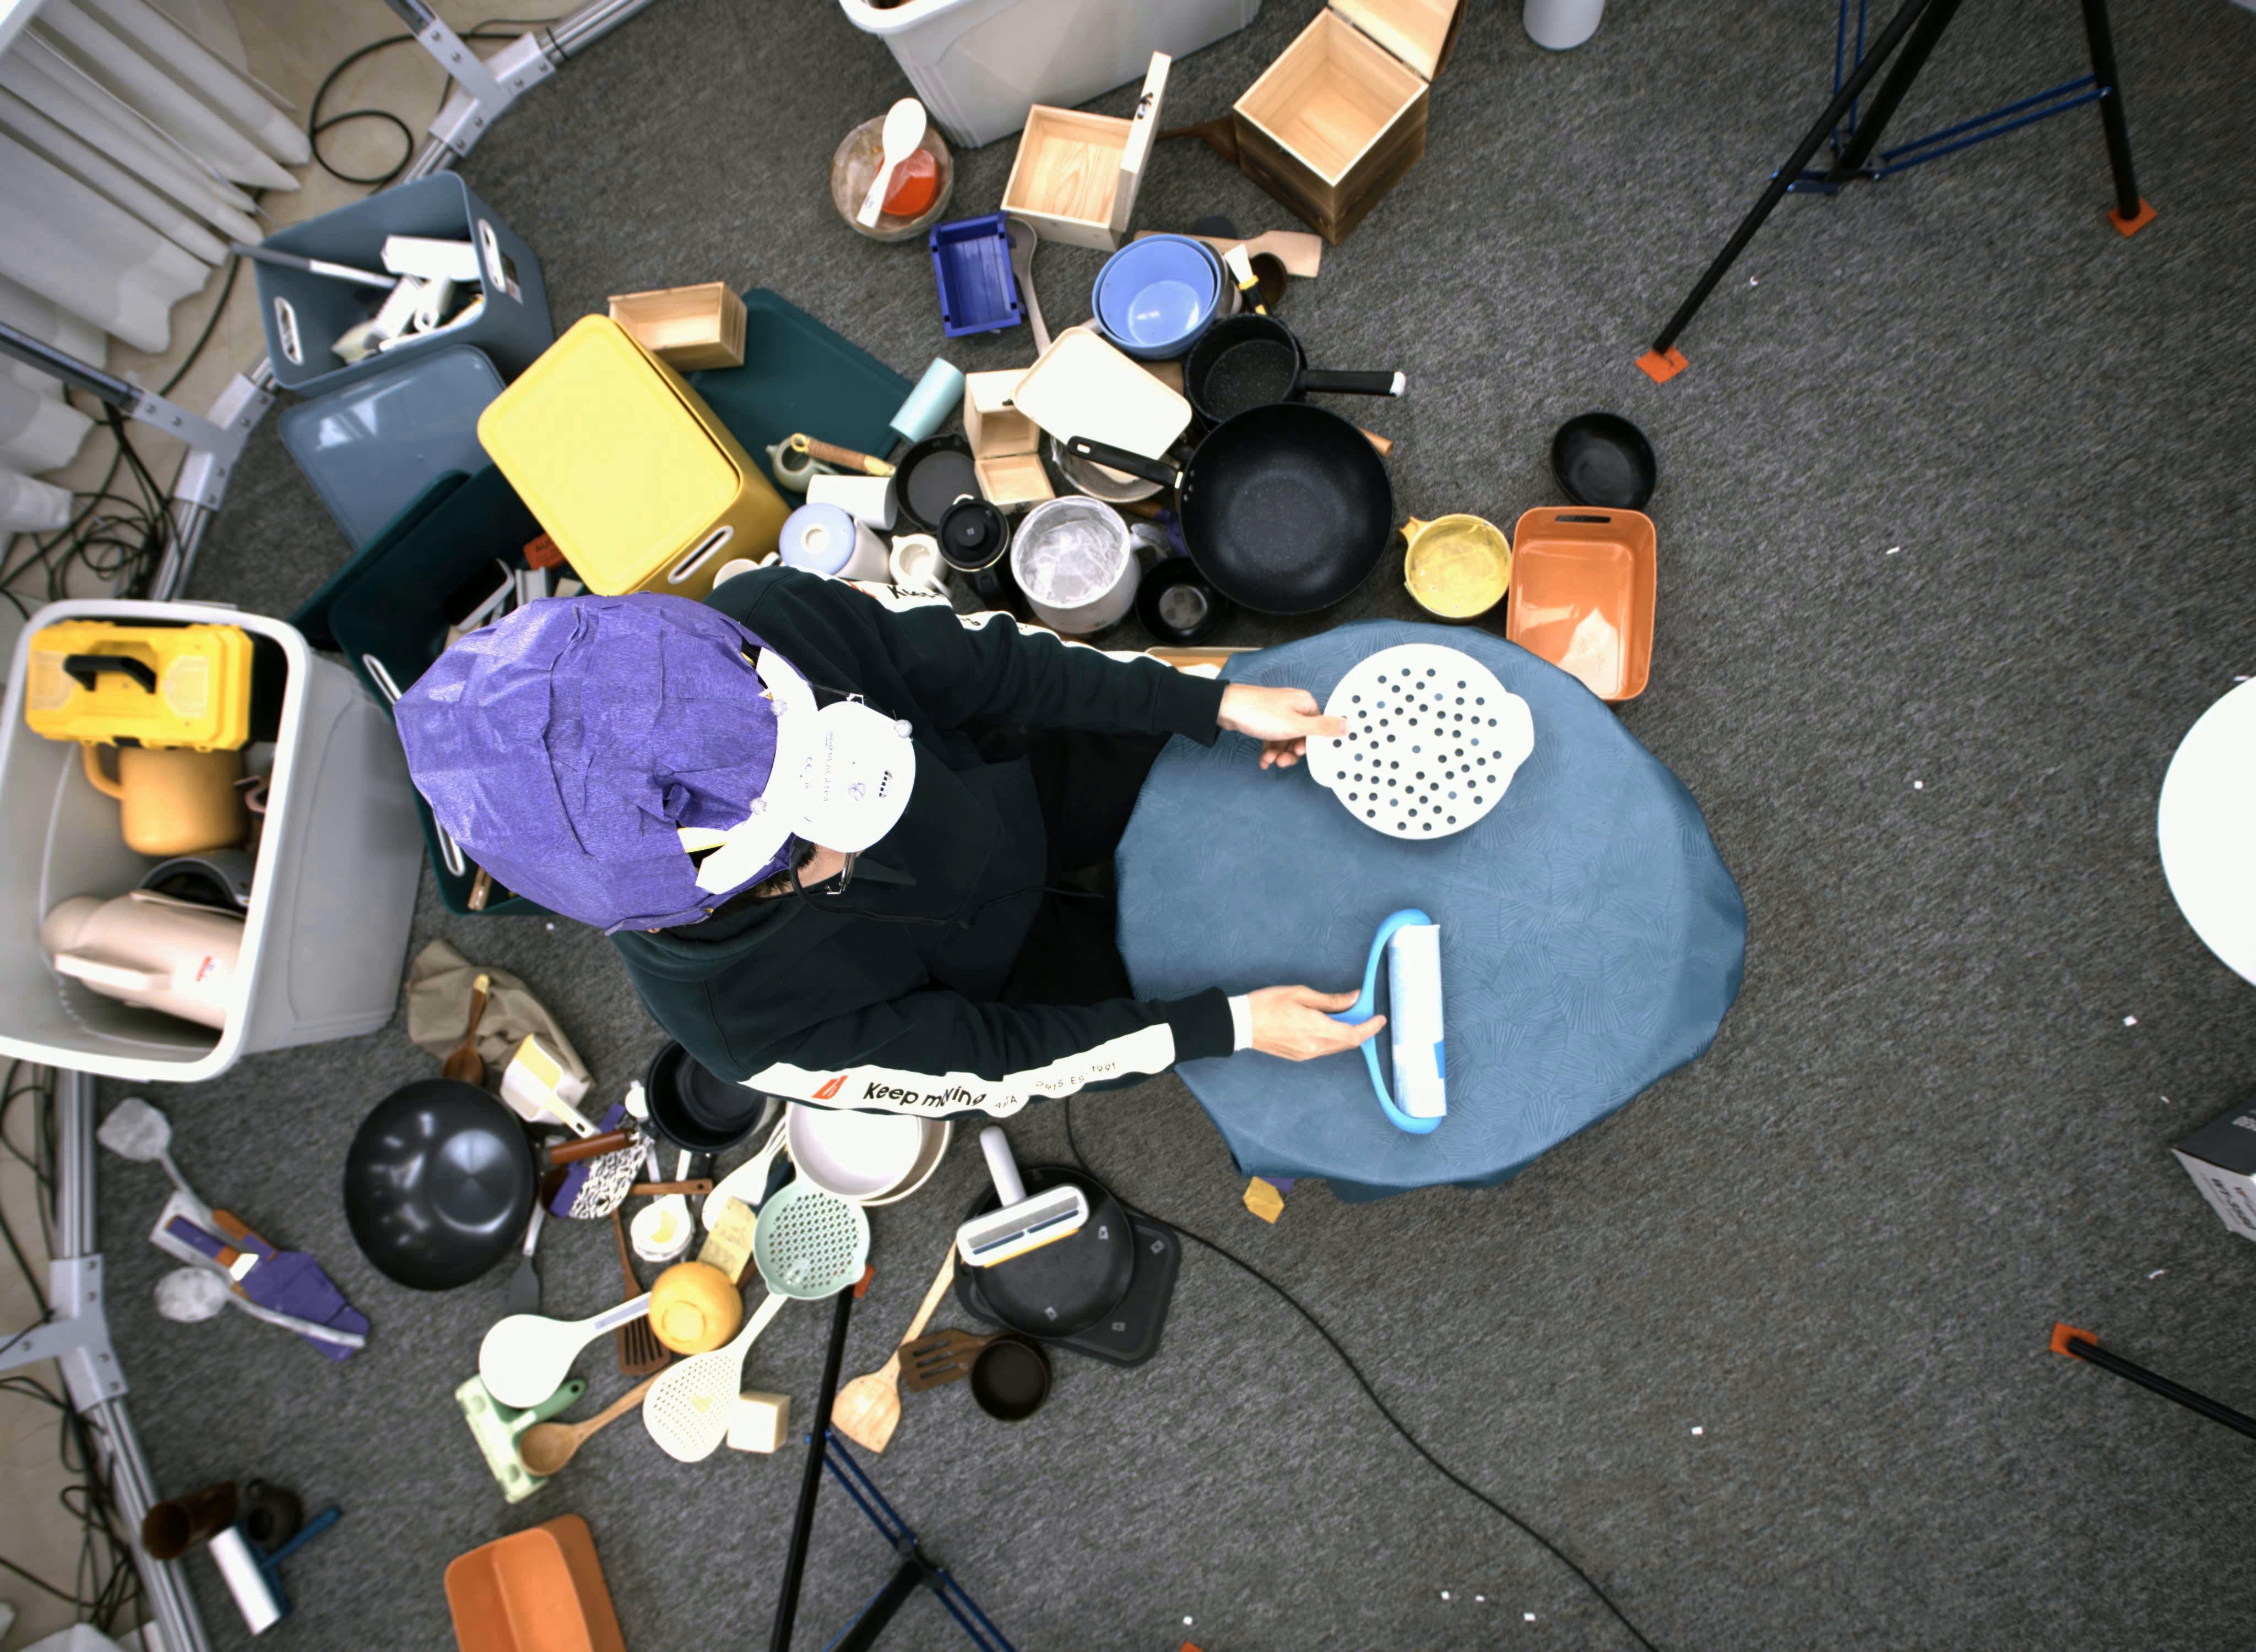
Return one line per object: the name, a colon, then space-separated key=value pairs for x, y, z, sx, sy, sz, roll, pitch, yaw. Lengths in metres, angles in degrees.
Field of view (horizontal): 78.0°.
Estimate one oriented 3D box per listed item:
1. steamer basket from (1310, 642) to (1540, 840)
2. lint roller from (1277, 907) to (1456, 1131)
steamer basket: x=0.305 y=-0.087 z=1.422 sx=0.232 sy=0.069 sz=0.201 roll=-7 pitch=85 yaw=11
lint roller: x=0.242 y=0.203 z=1.426 sx=0.181 sy=0.068 sz=0.228 roll=-7 pitch=88 yaw=9
